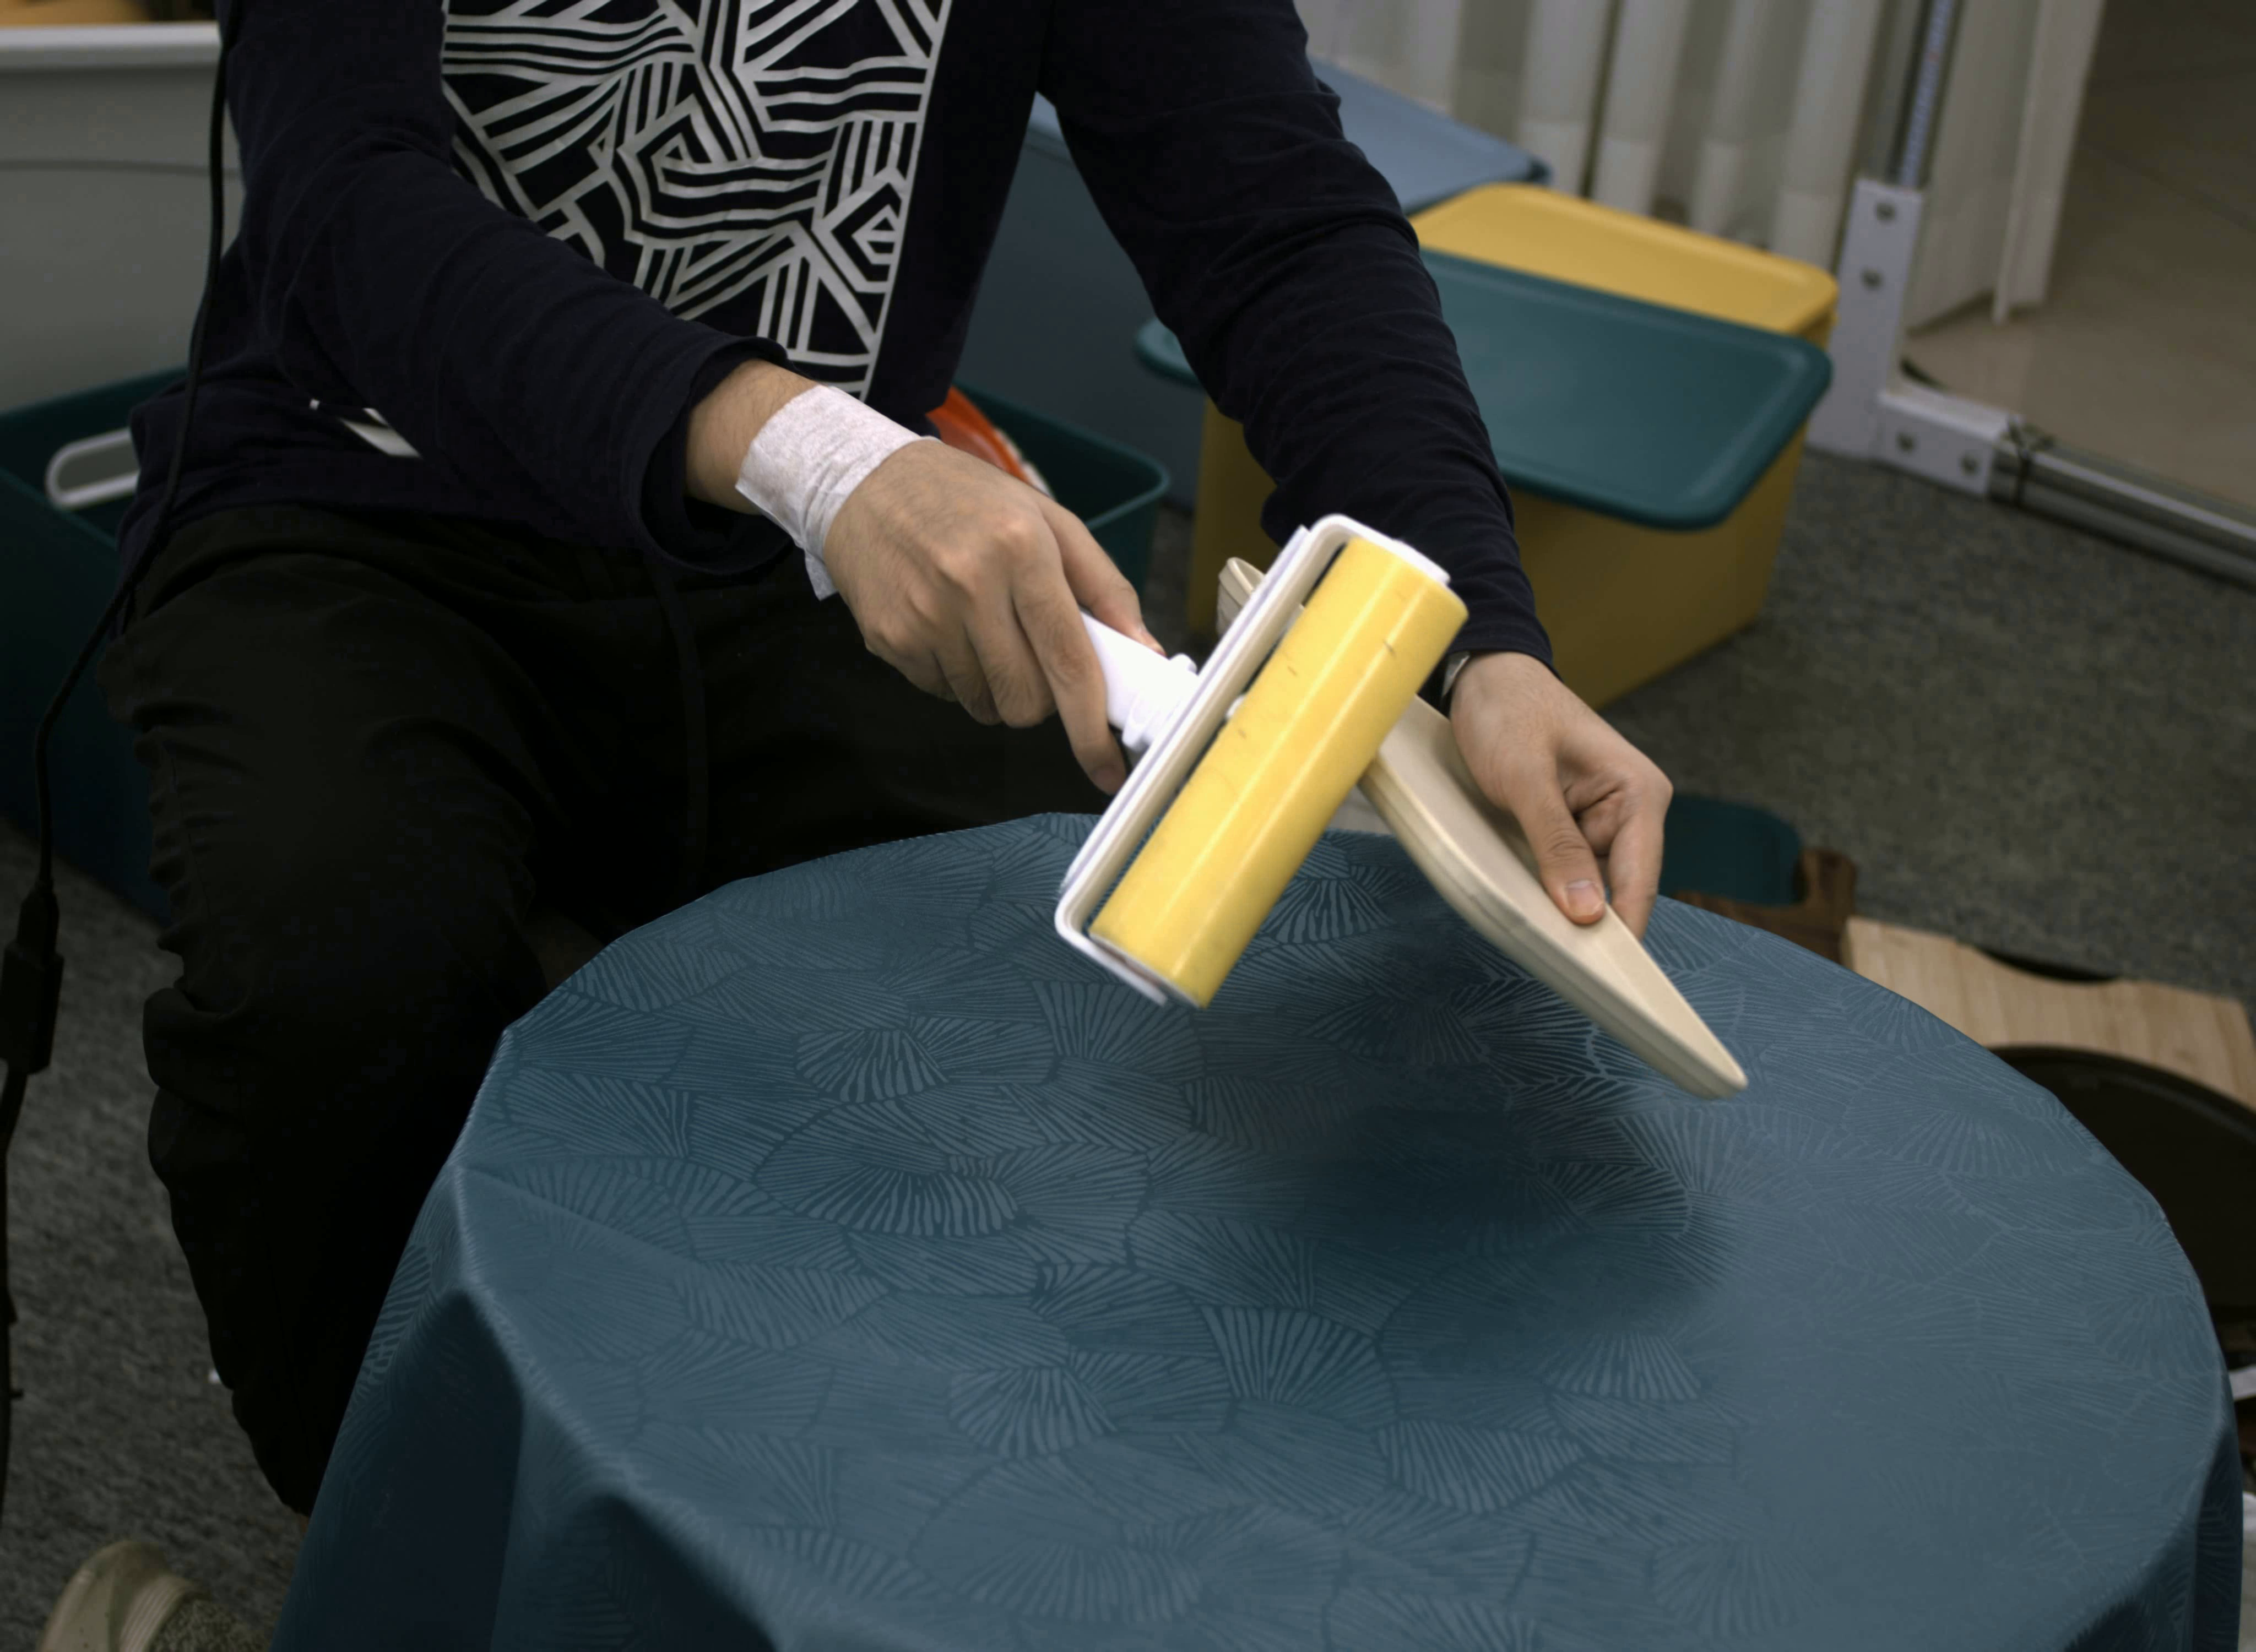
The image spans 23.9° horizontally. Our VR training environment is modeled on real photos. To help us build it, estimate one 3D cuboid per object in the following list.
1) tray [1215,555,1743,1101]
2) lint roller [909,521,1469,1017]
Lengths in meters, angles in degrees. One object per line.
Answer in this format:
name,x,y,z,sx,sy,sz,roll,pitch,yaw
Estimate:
tray,0.118,0.002,1.858,0.169,0.017,0.242,37,11,-37
lint roller,-0.005,-0.048,1.803,0.193,0.174,0.051,30,-7,26
